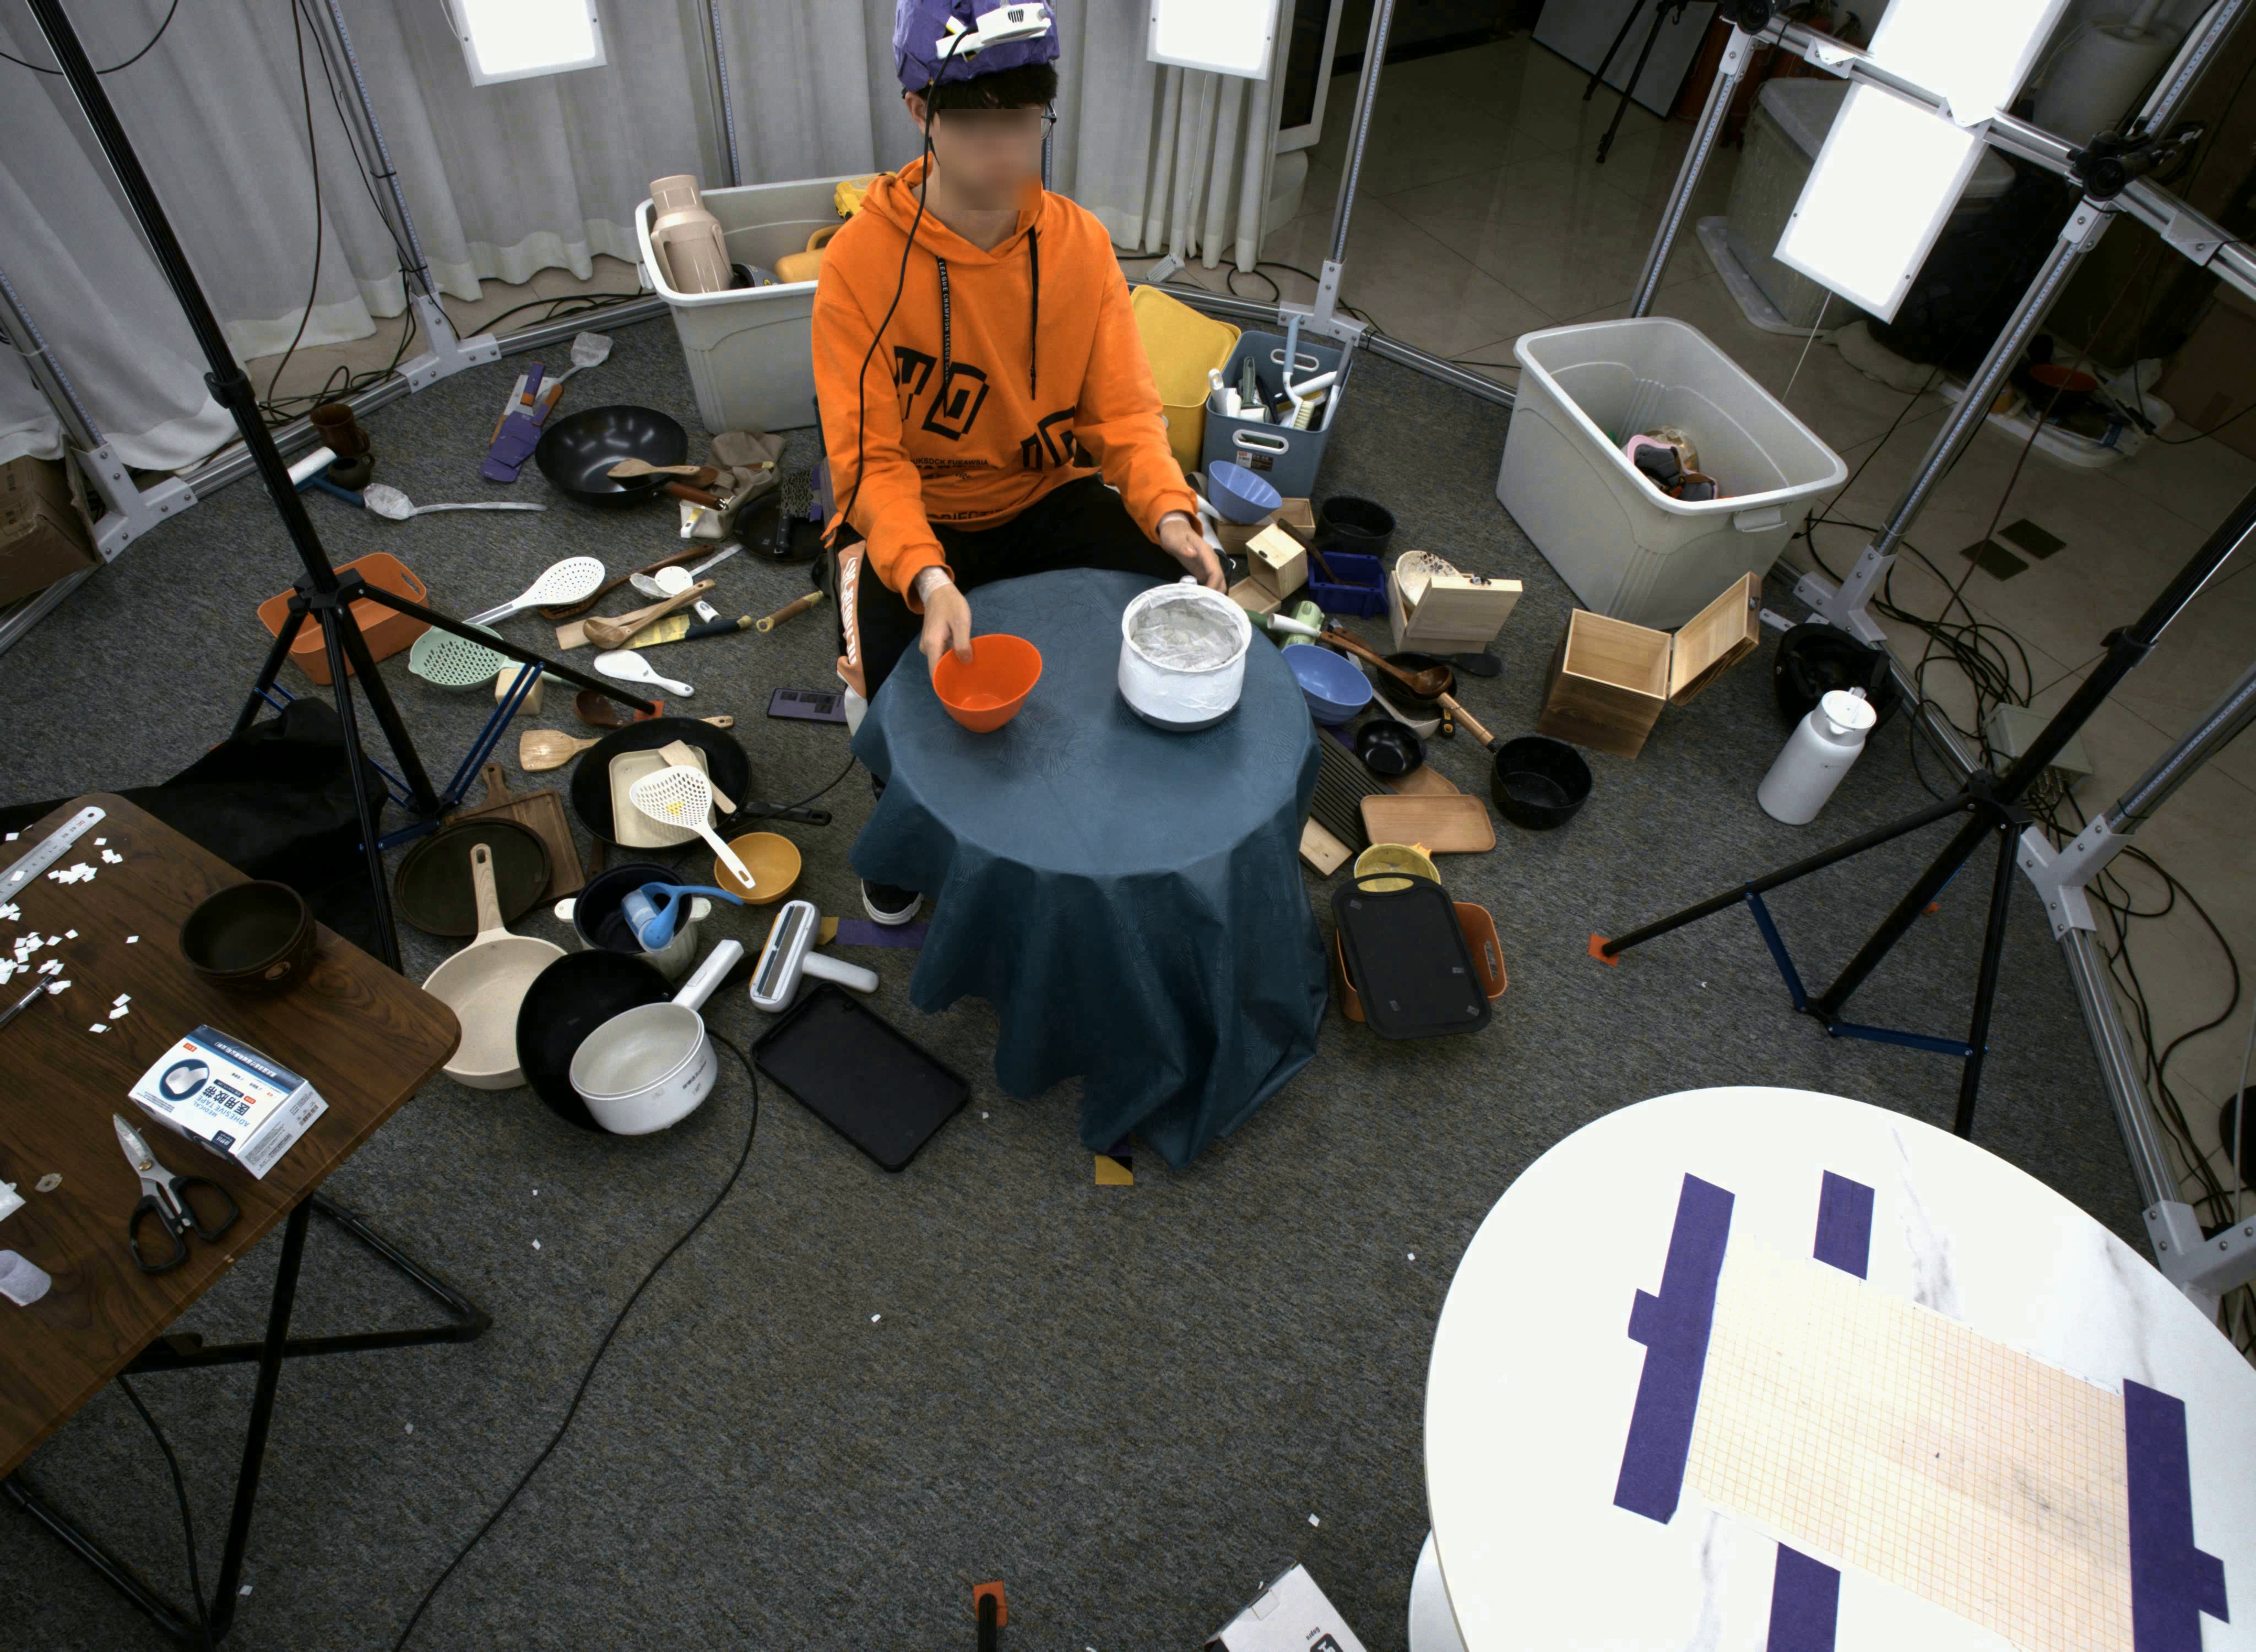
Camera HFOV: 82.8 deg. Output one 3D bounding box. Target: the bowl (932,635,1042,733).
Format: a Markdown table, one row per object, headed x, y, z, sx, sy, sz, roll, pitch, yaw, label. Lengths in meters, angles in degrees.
| x | y | z | sx | sy | sz | roll | pitch | yaw | label |
| --- | --- | --- | --- | --- | --- | --- | --- | --- | --- |
| -0.189 | -0.180 | 1.747 | 0.148 | 0.102 | 0.151 | 0 | 52 | -1 | bowl |

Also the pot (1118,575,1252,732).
| x | y | z | sx | sy | sz | roll | pitch | yaw | label |
| --- | --- | --- | --- | --- | --- | --- | --- | --- | --- |
| 0.077 | -0.252 | 1.804 | 0.178 | 0.133 | 0.239 | 4 | 50 | -1 | pot |
